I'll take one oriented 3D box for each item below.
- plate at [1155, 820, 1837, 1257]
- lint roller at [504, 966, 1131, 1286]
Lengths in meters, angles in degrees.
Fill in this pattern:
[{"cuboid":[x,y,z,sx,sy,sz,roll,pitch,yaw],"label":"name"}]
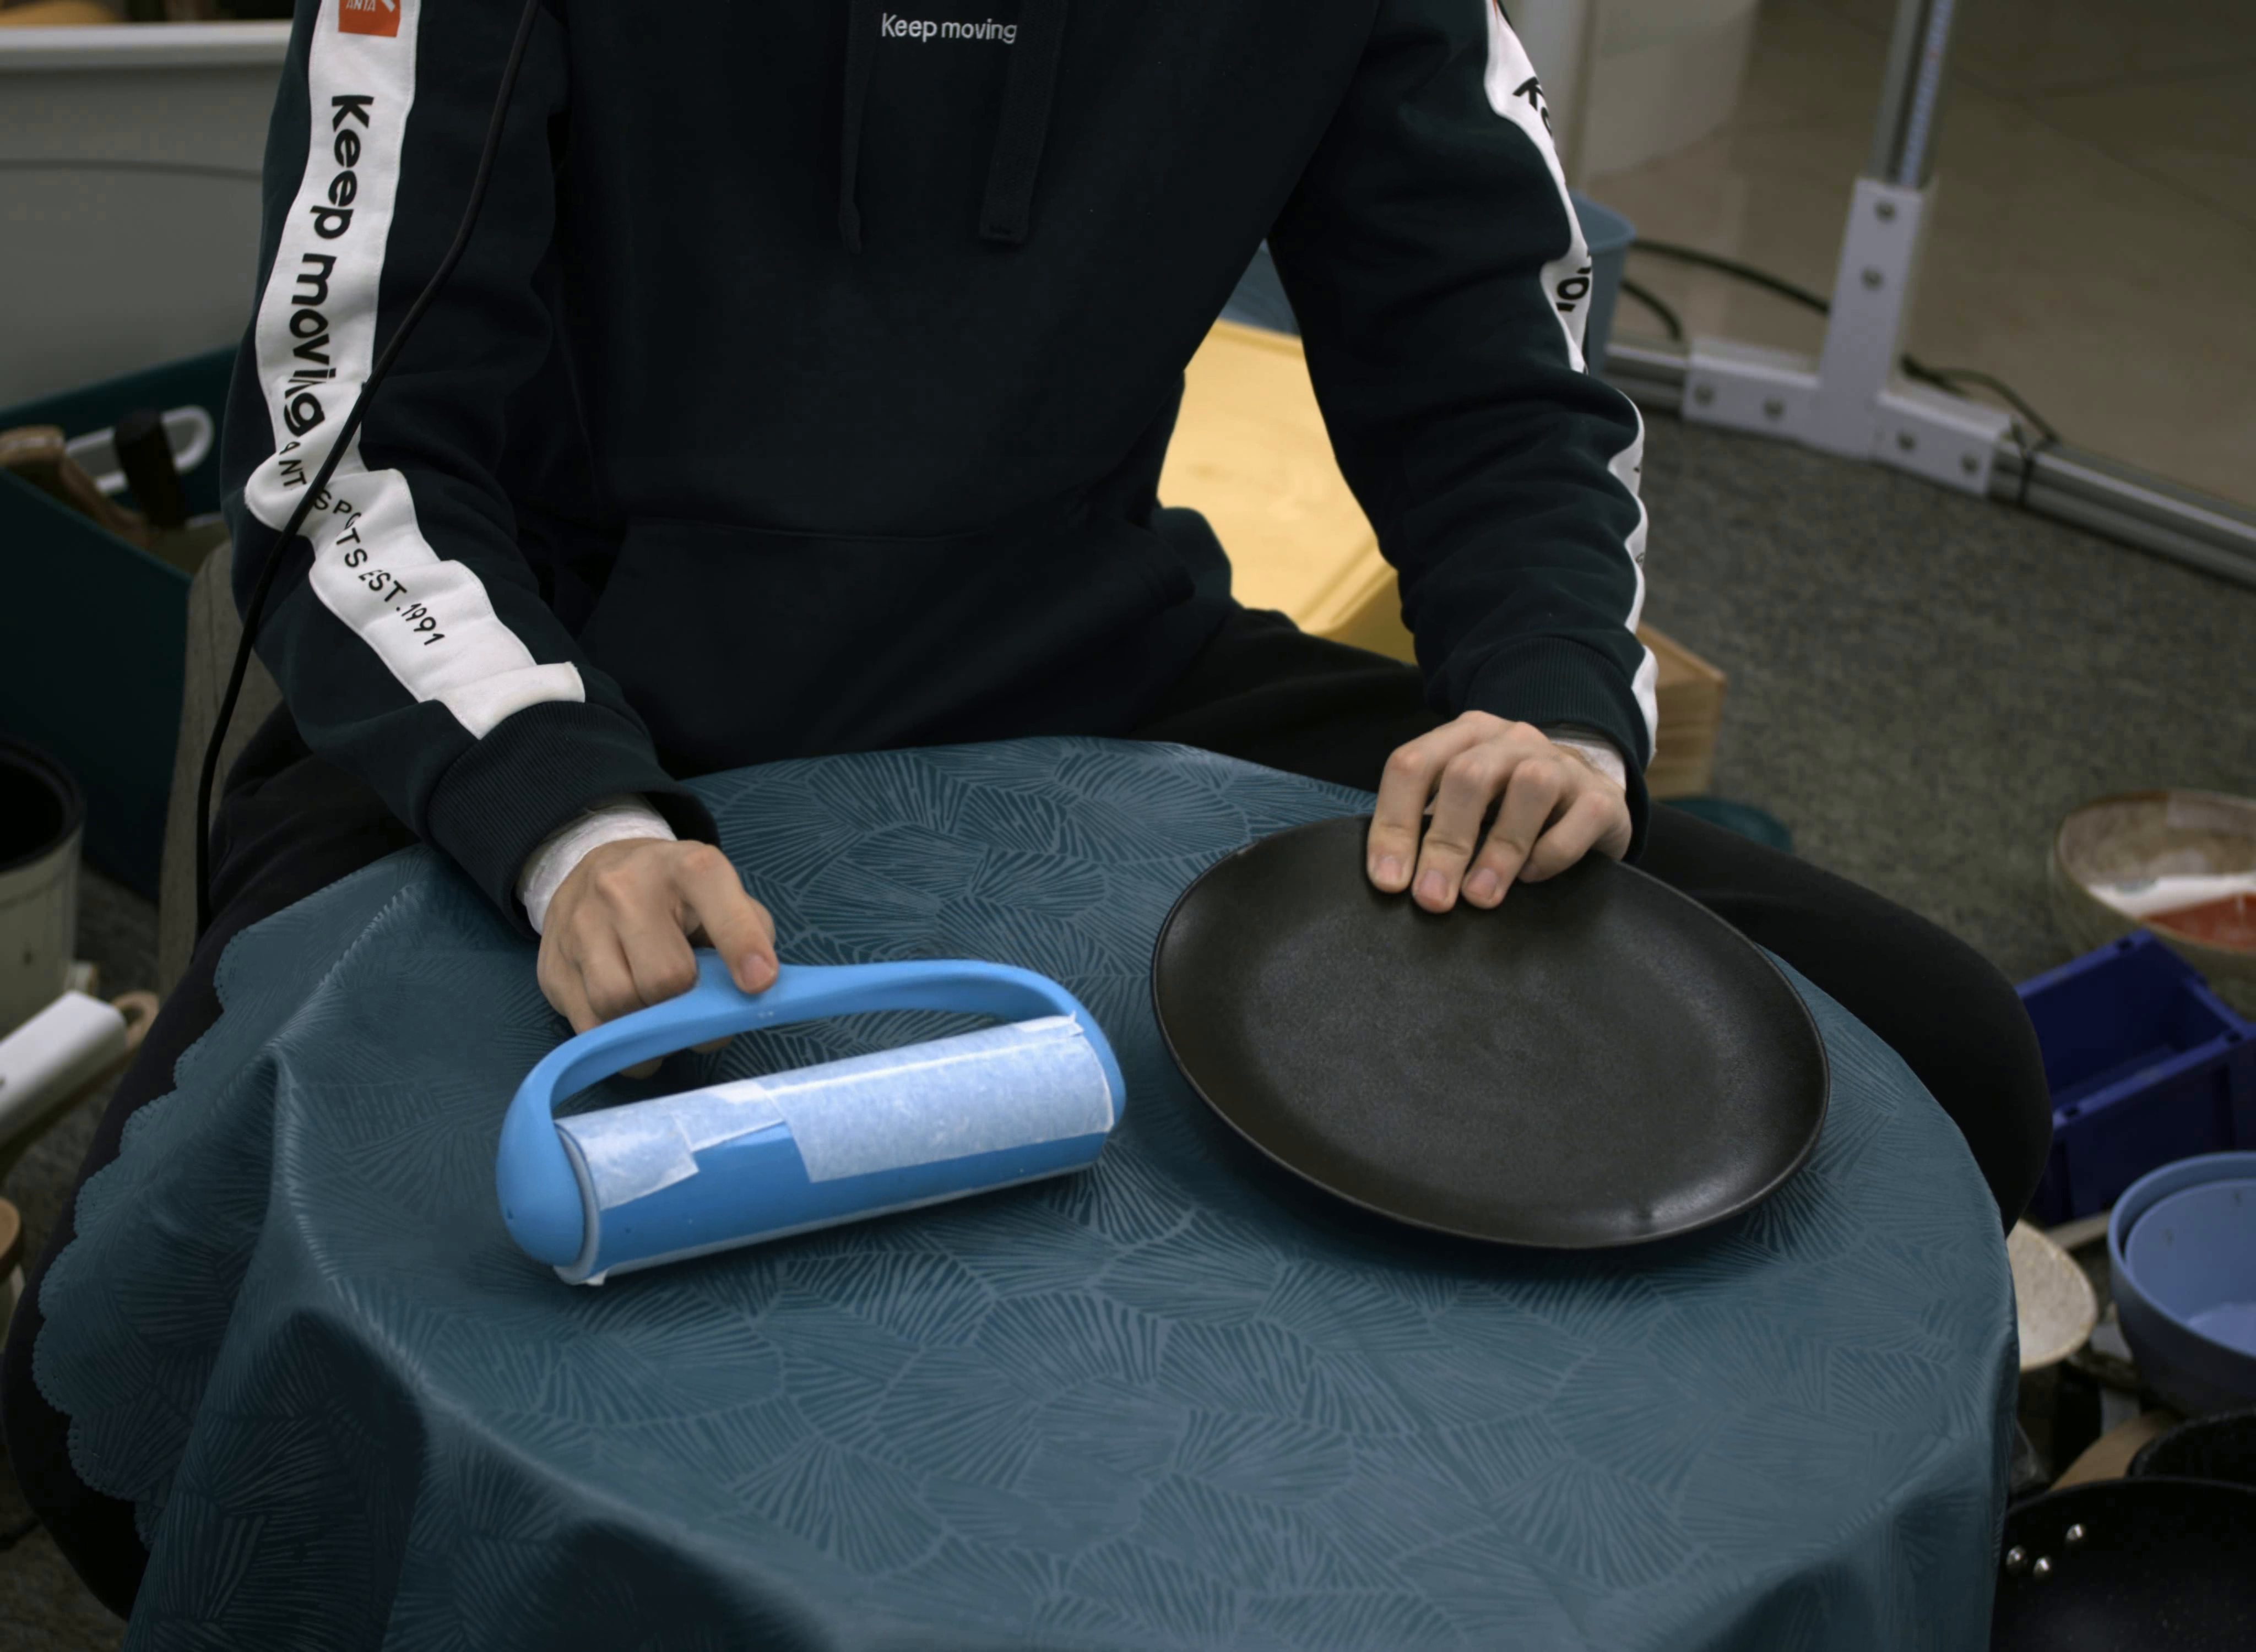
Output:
[{"cuboid":[0.127,0.077,1.865,0.243,0.023,0.246,7,34,-5],"label":"plate"},{"cuboid":[-0.132,0.081,1.792,0.227,0.068,0.182,-13,31,-32],"label":"lint roller"}]
